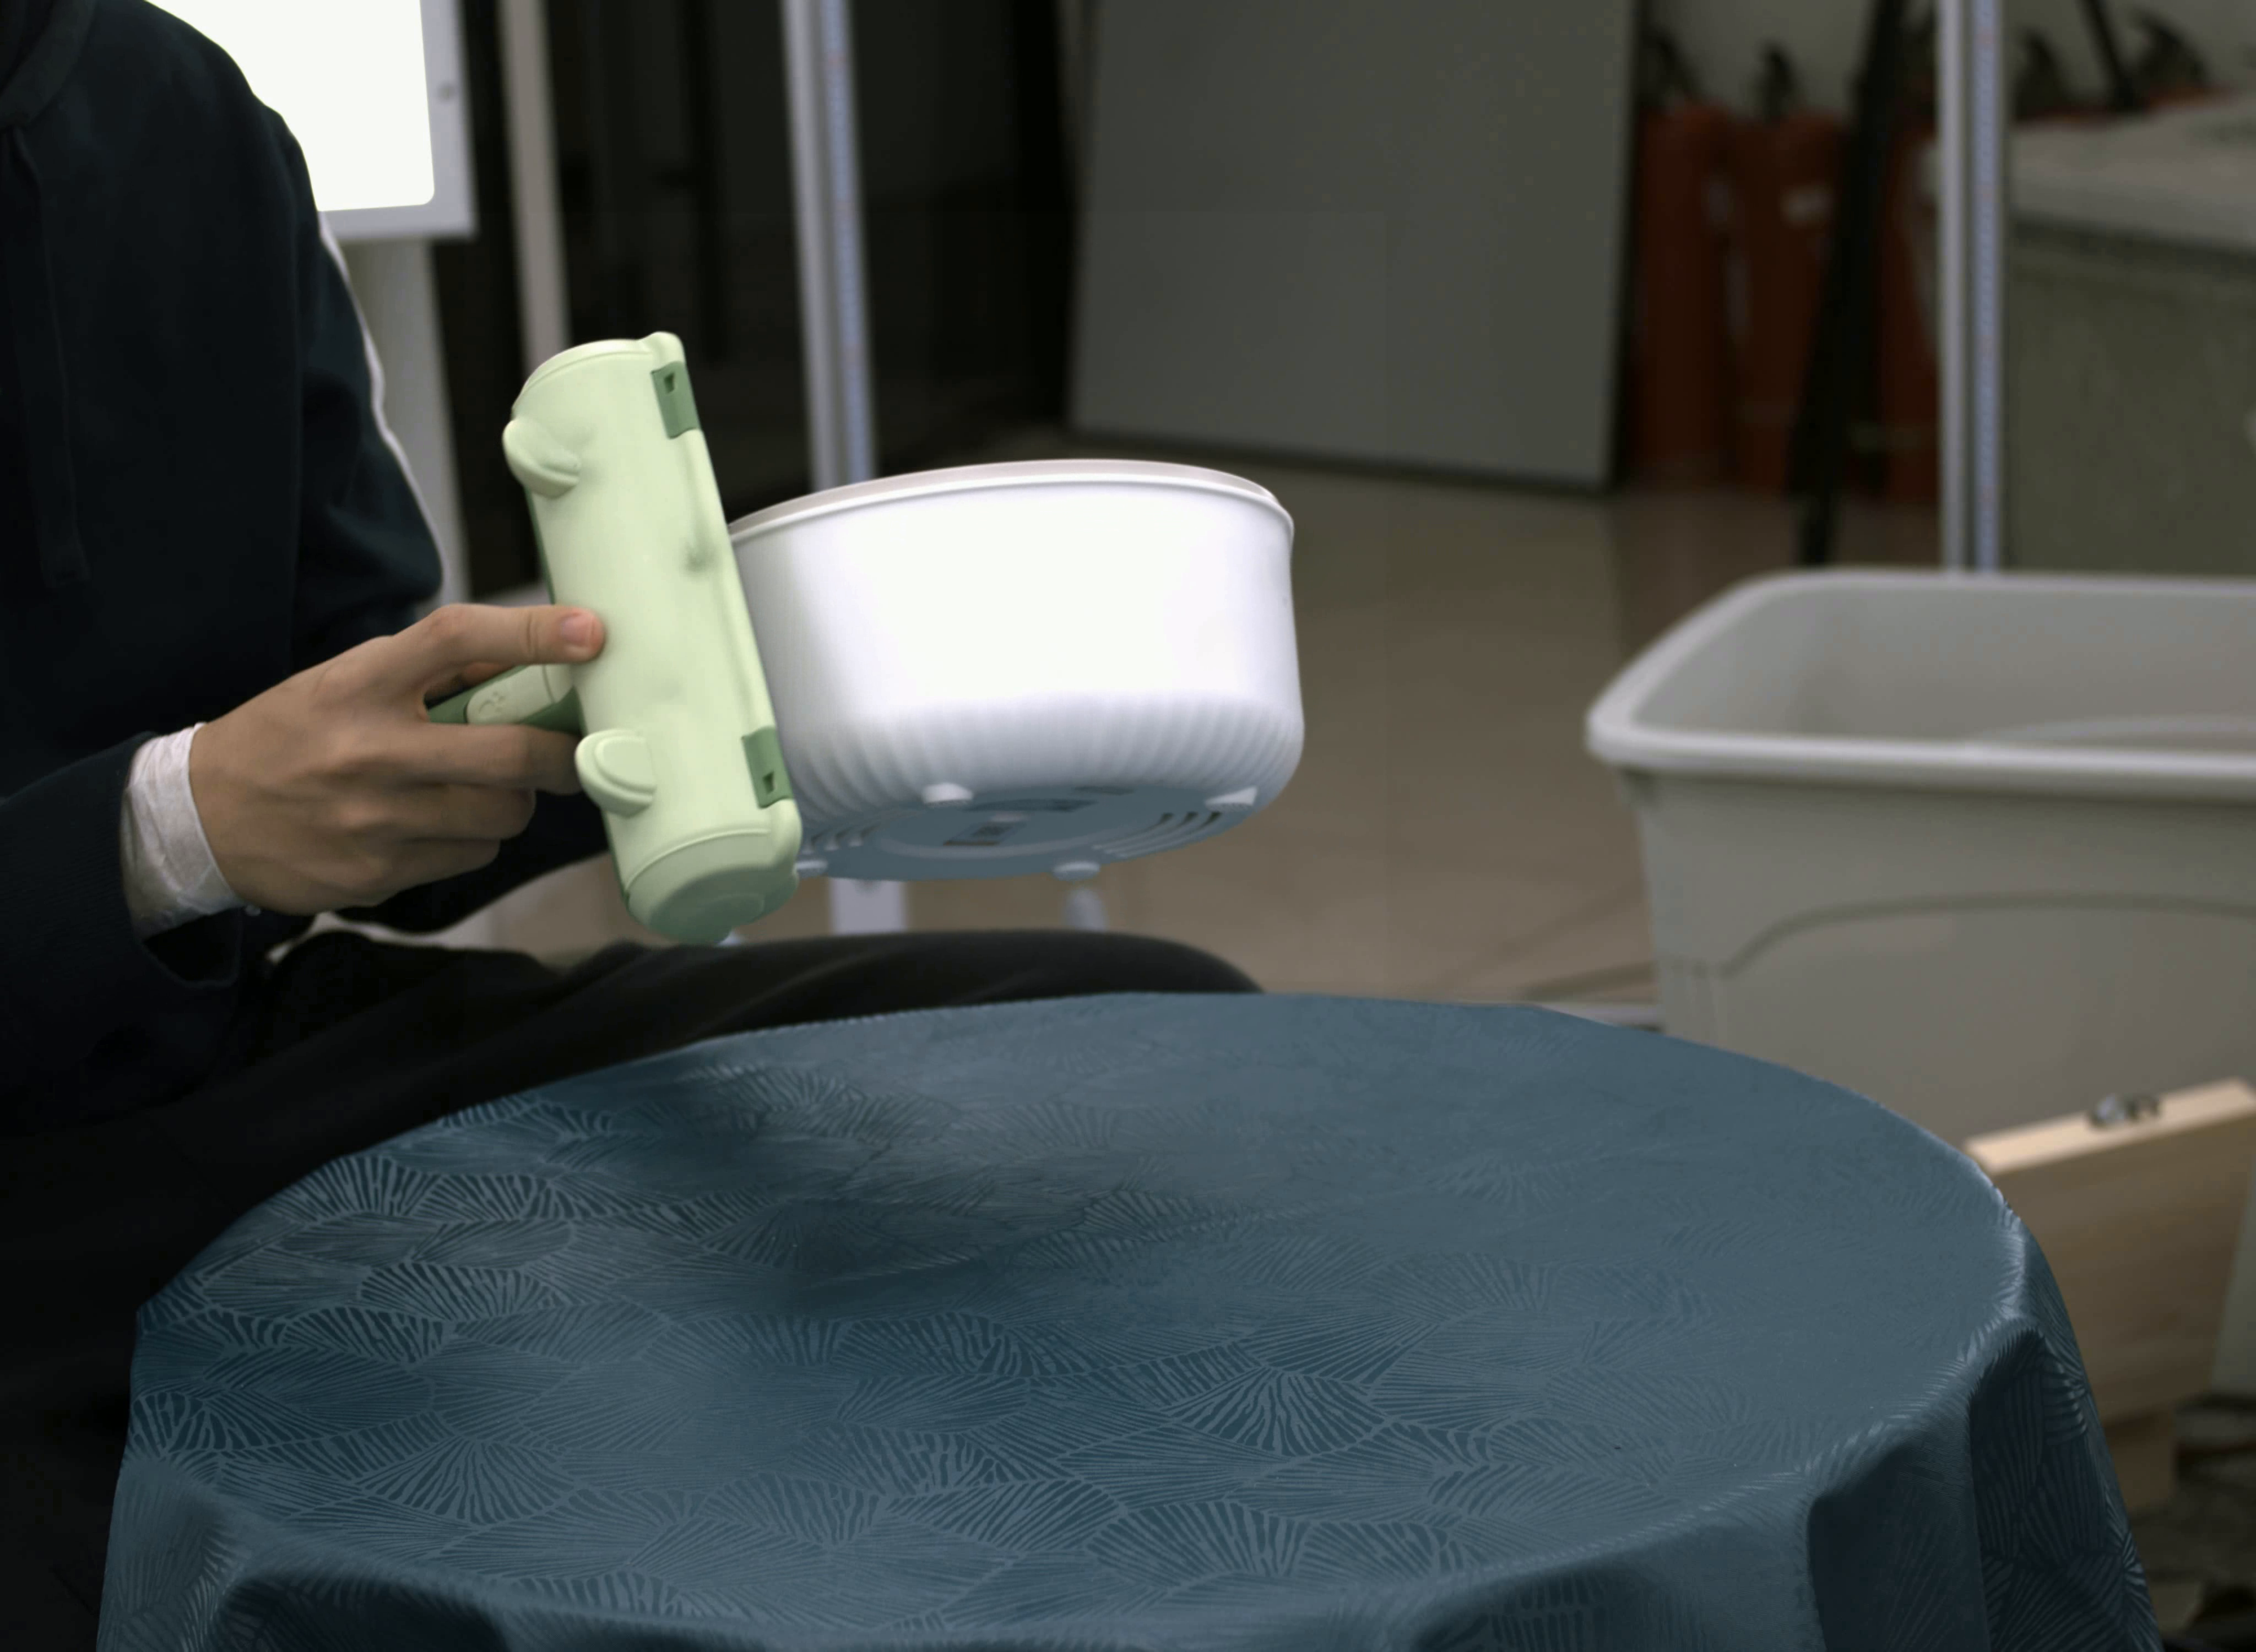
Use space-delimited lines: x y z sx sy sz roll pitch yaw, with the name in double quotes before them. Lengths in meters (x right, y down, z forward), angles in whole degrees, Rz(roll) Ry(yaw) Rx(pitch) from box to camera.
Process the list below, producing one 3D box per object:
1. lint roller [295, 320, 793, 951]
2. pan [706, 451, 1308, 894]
"lint roller" -0.198 -0.039 1.675 0.183 0.201 0.081 -26 -29 18
"pan" -0.076 -0.023 1.801 0.196 0.103 0.358 0 -14 -29
